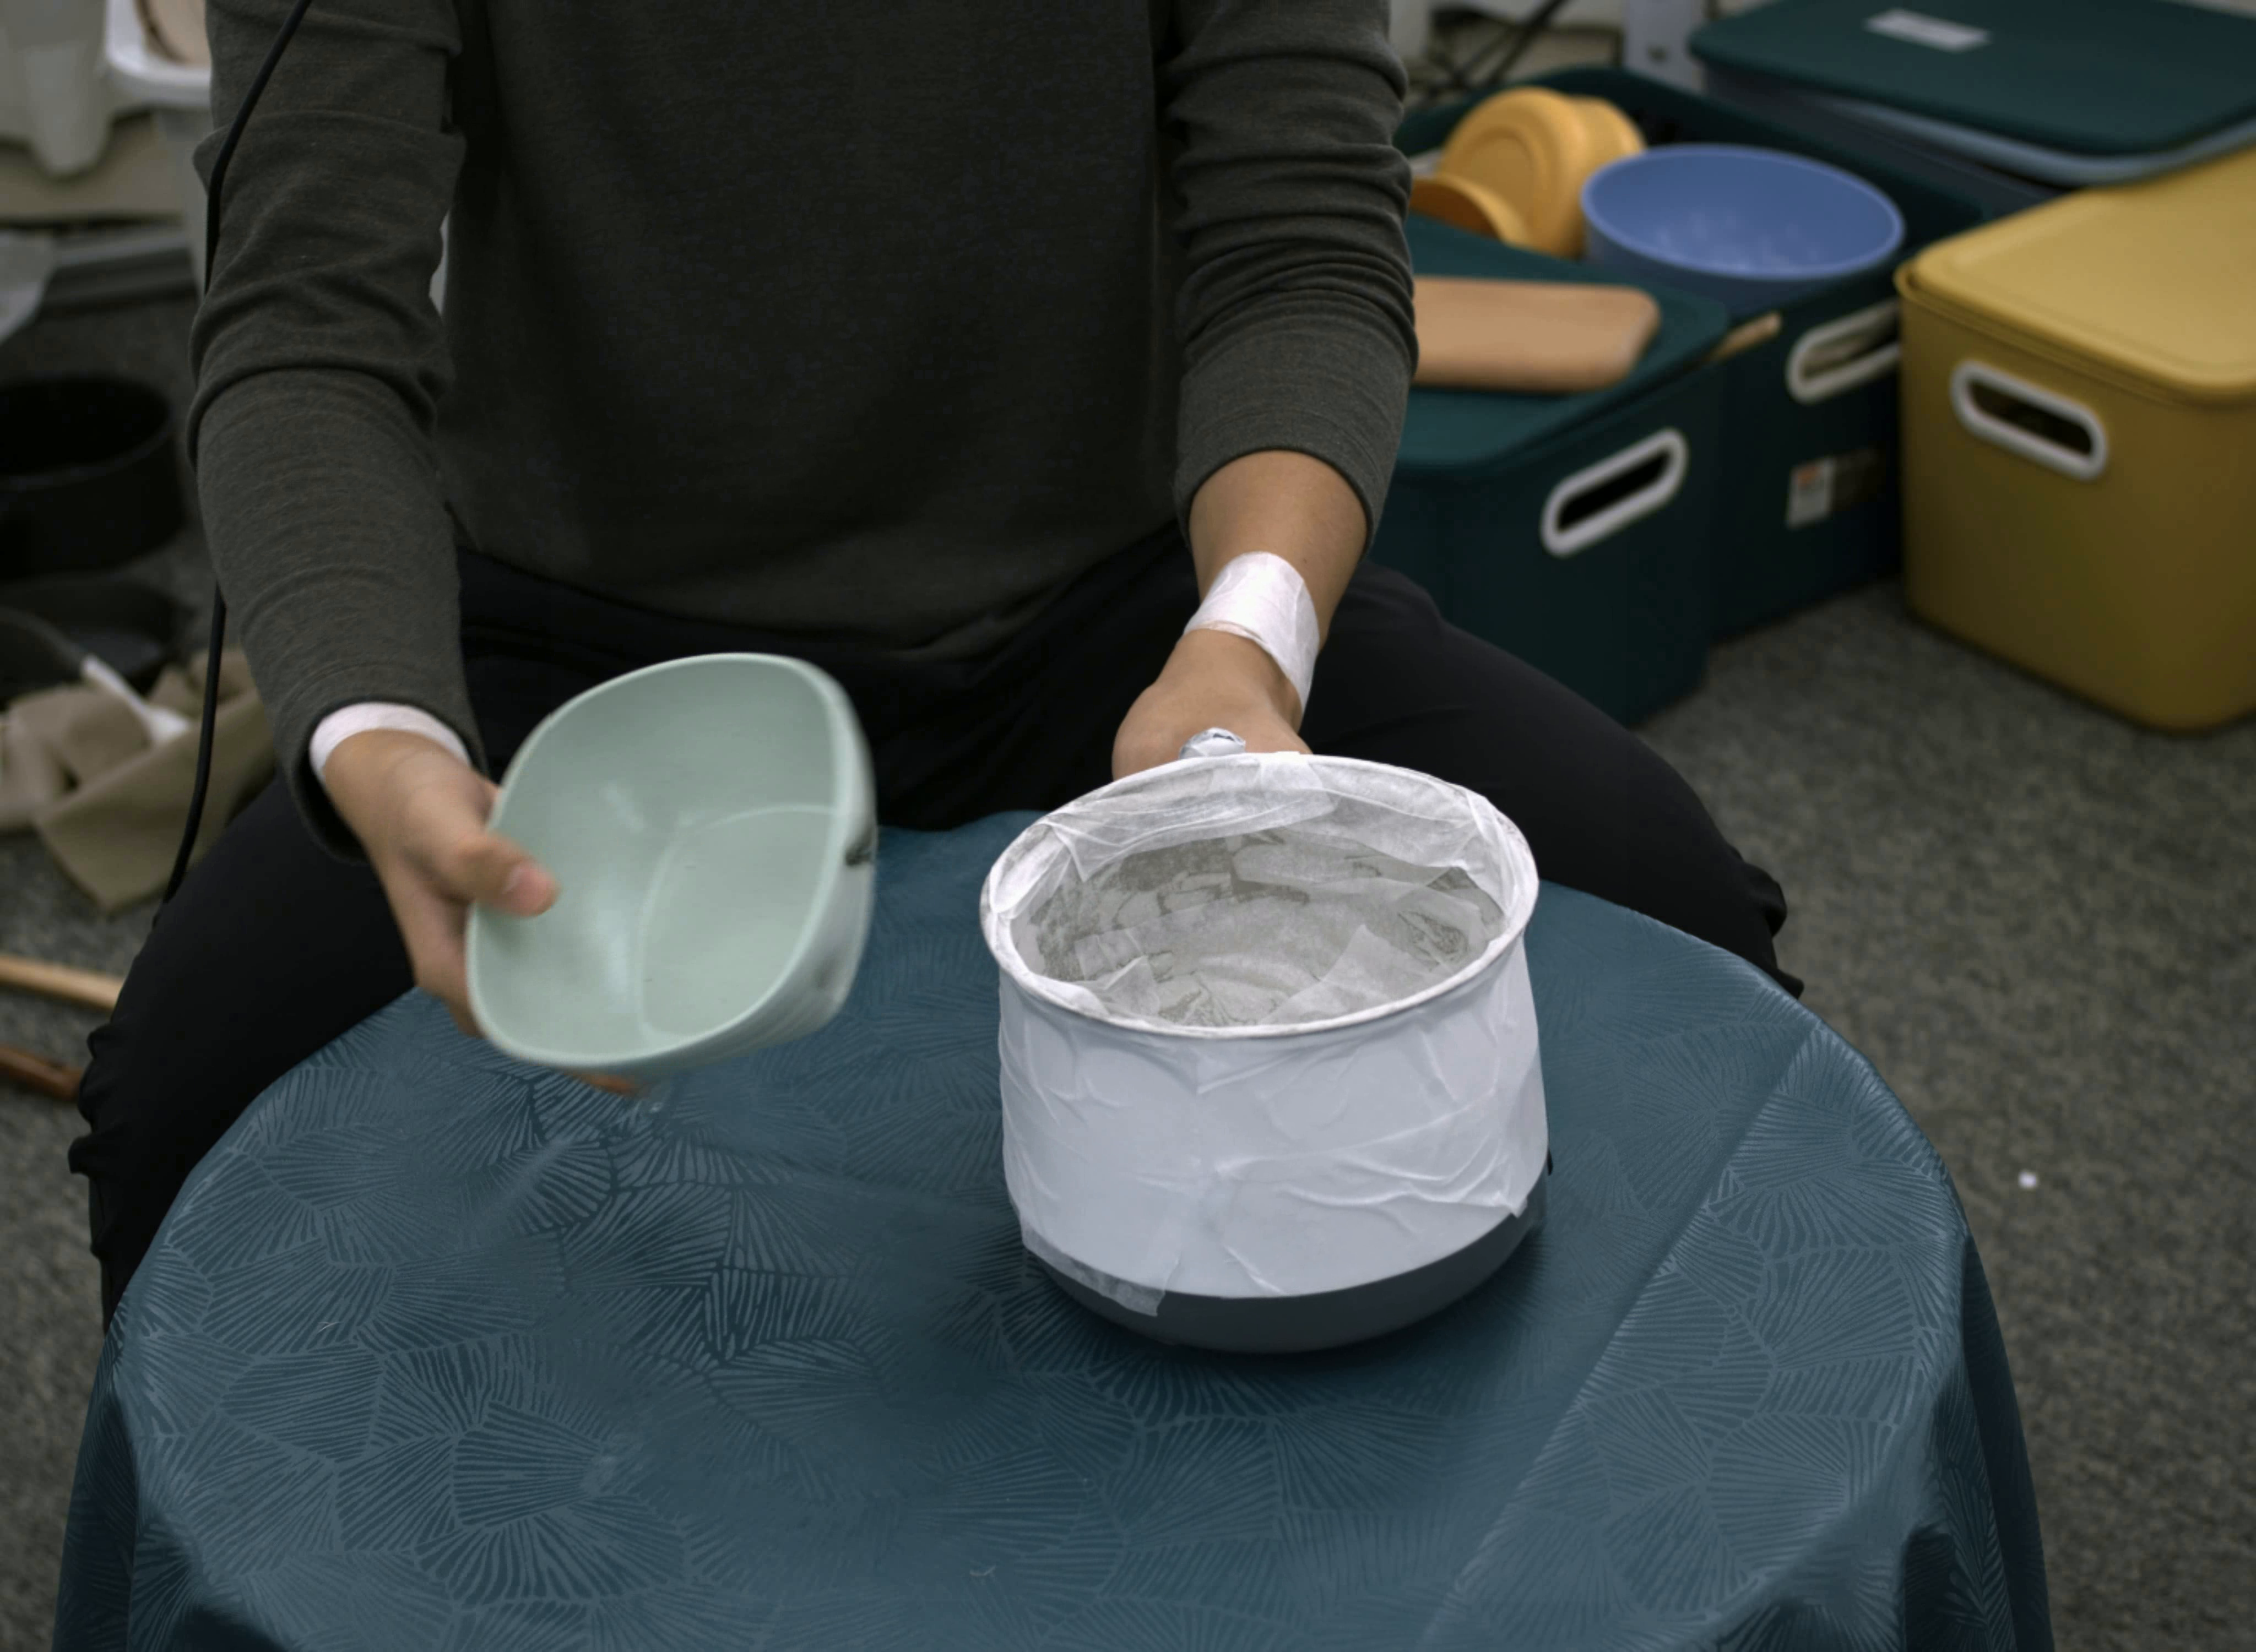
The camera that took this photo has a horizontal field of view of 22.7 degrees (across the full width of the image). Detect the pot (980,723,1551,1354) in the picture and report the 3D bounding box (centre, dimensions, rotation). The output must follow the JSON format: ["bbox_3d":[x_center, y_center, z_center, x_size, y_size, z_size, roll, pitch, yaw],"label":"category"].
[{"bbox_3d":[0.041,0.061,1.822,0.178,0.135,0.237,-7,28,-6],"label":"pot"}]

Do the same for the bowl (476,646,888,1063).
[{"bbox_3d":[-0.127,0.019,1.741,0.150,0.058,0.154,-15,55,22],"label":"bowl"}]
